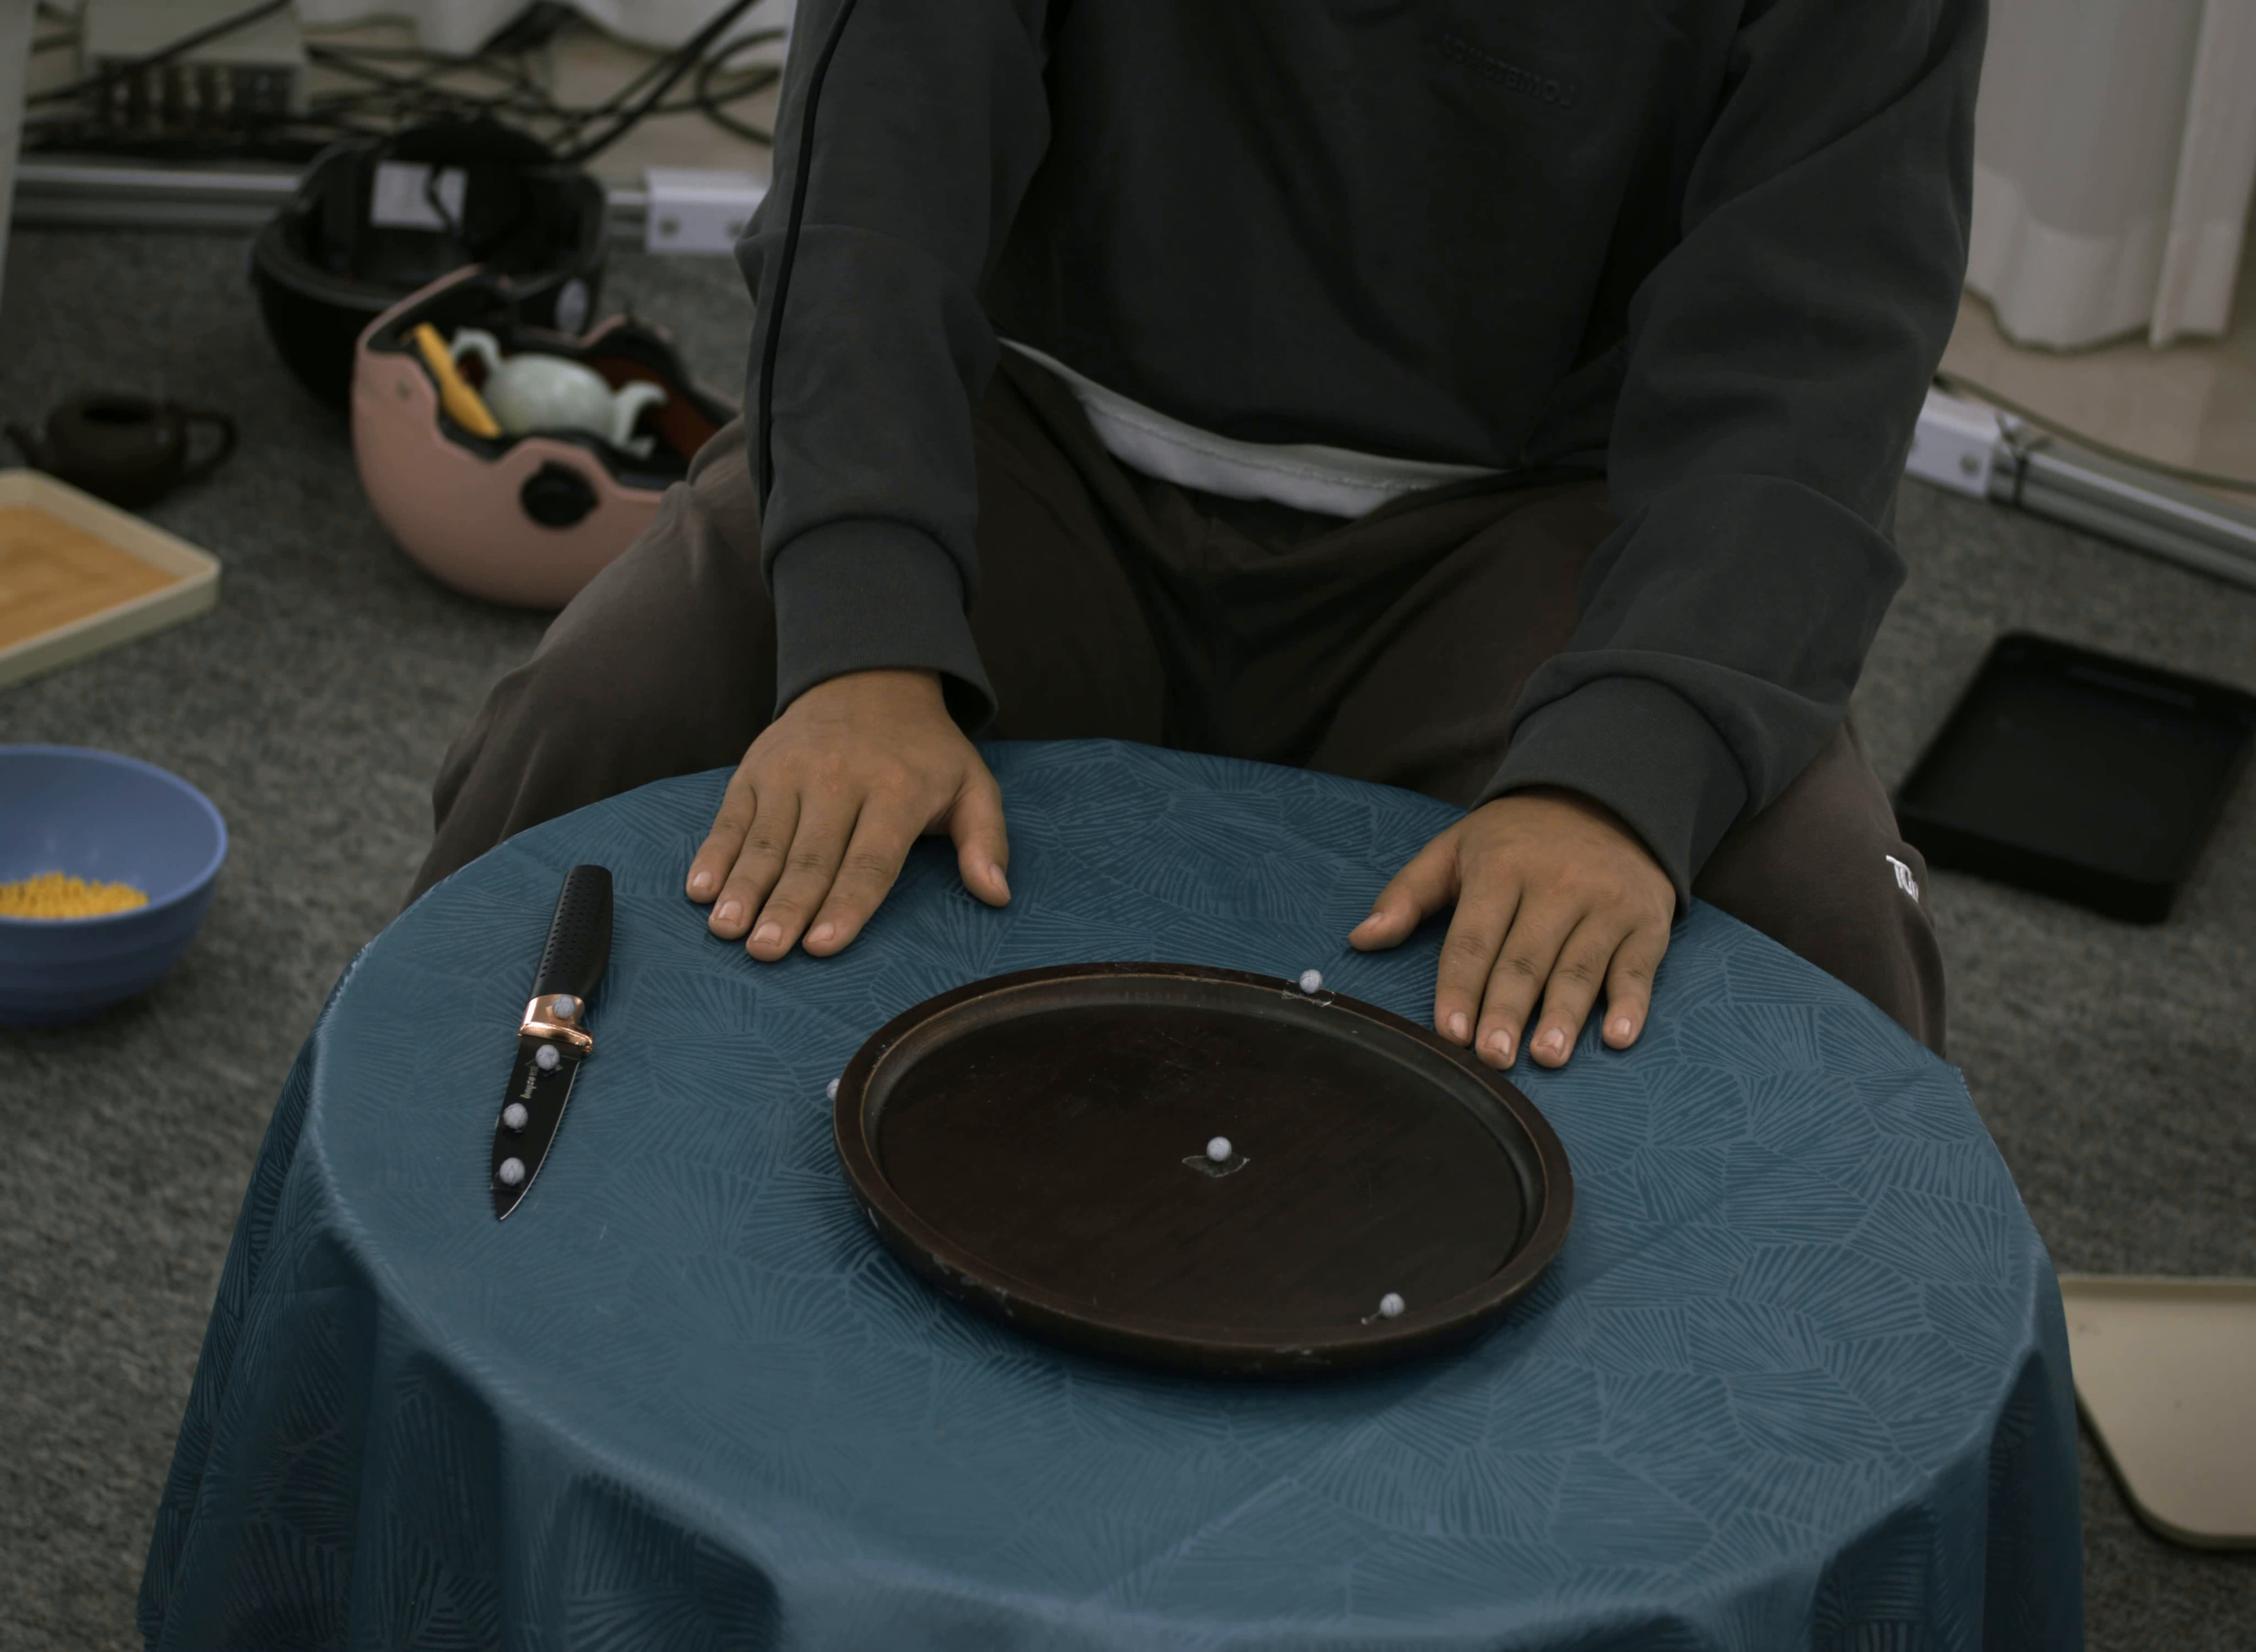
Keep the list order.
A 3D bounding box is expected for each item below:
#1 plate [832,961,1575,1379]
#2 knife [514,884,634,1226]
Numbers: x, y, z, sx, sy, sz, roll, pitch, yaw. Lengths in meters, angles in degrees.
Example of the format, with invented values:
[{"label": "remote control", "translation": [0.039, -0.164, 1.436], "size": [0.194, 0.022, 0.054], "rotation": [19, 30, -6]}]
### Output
[{"label": "plate", "translation": [0.025, 0.115, 1.804], "size": [0.254, 0.029, 0.256], "rotation": [5, 26, -3]}, {"label": "knife", "translation": [-0.194, 0.077, 1.840], "size": [0.026, 0.017, 0.227], "rotation": [12, 27, -3]}]
